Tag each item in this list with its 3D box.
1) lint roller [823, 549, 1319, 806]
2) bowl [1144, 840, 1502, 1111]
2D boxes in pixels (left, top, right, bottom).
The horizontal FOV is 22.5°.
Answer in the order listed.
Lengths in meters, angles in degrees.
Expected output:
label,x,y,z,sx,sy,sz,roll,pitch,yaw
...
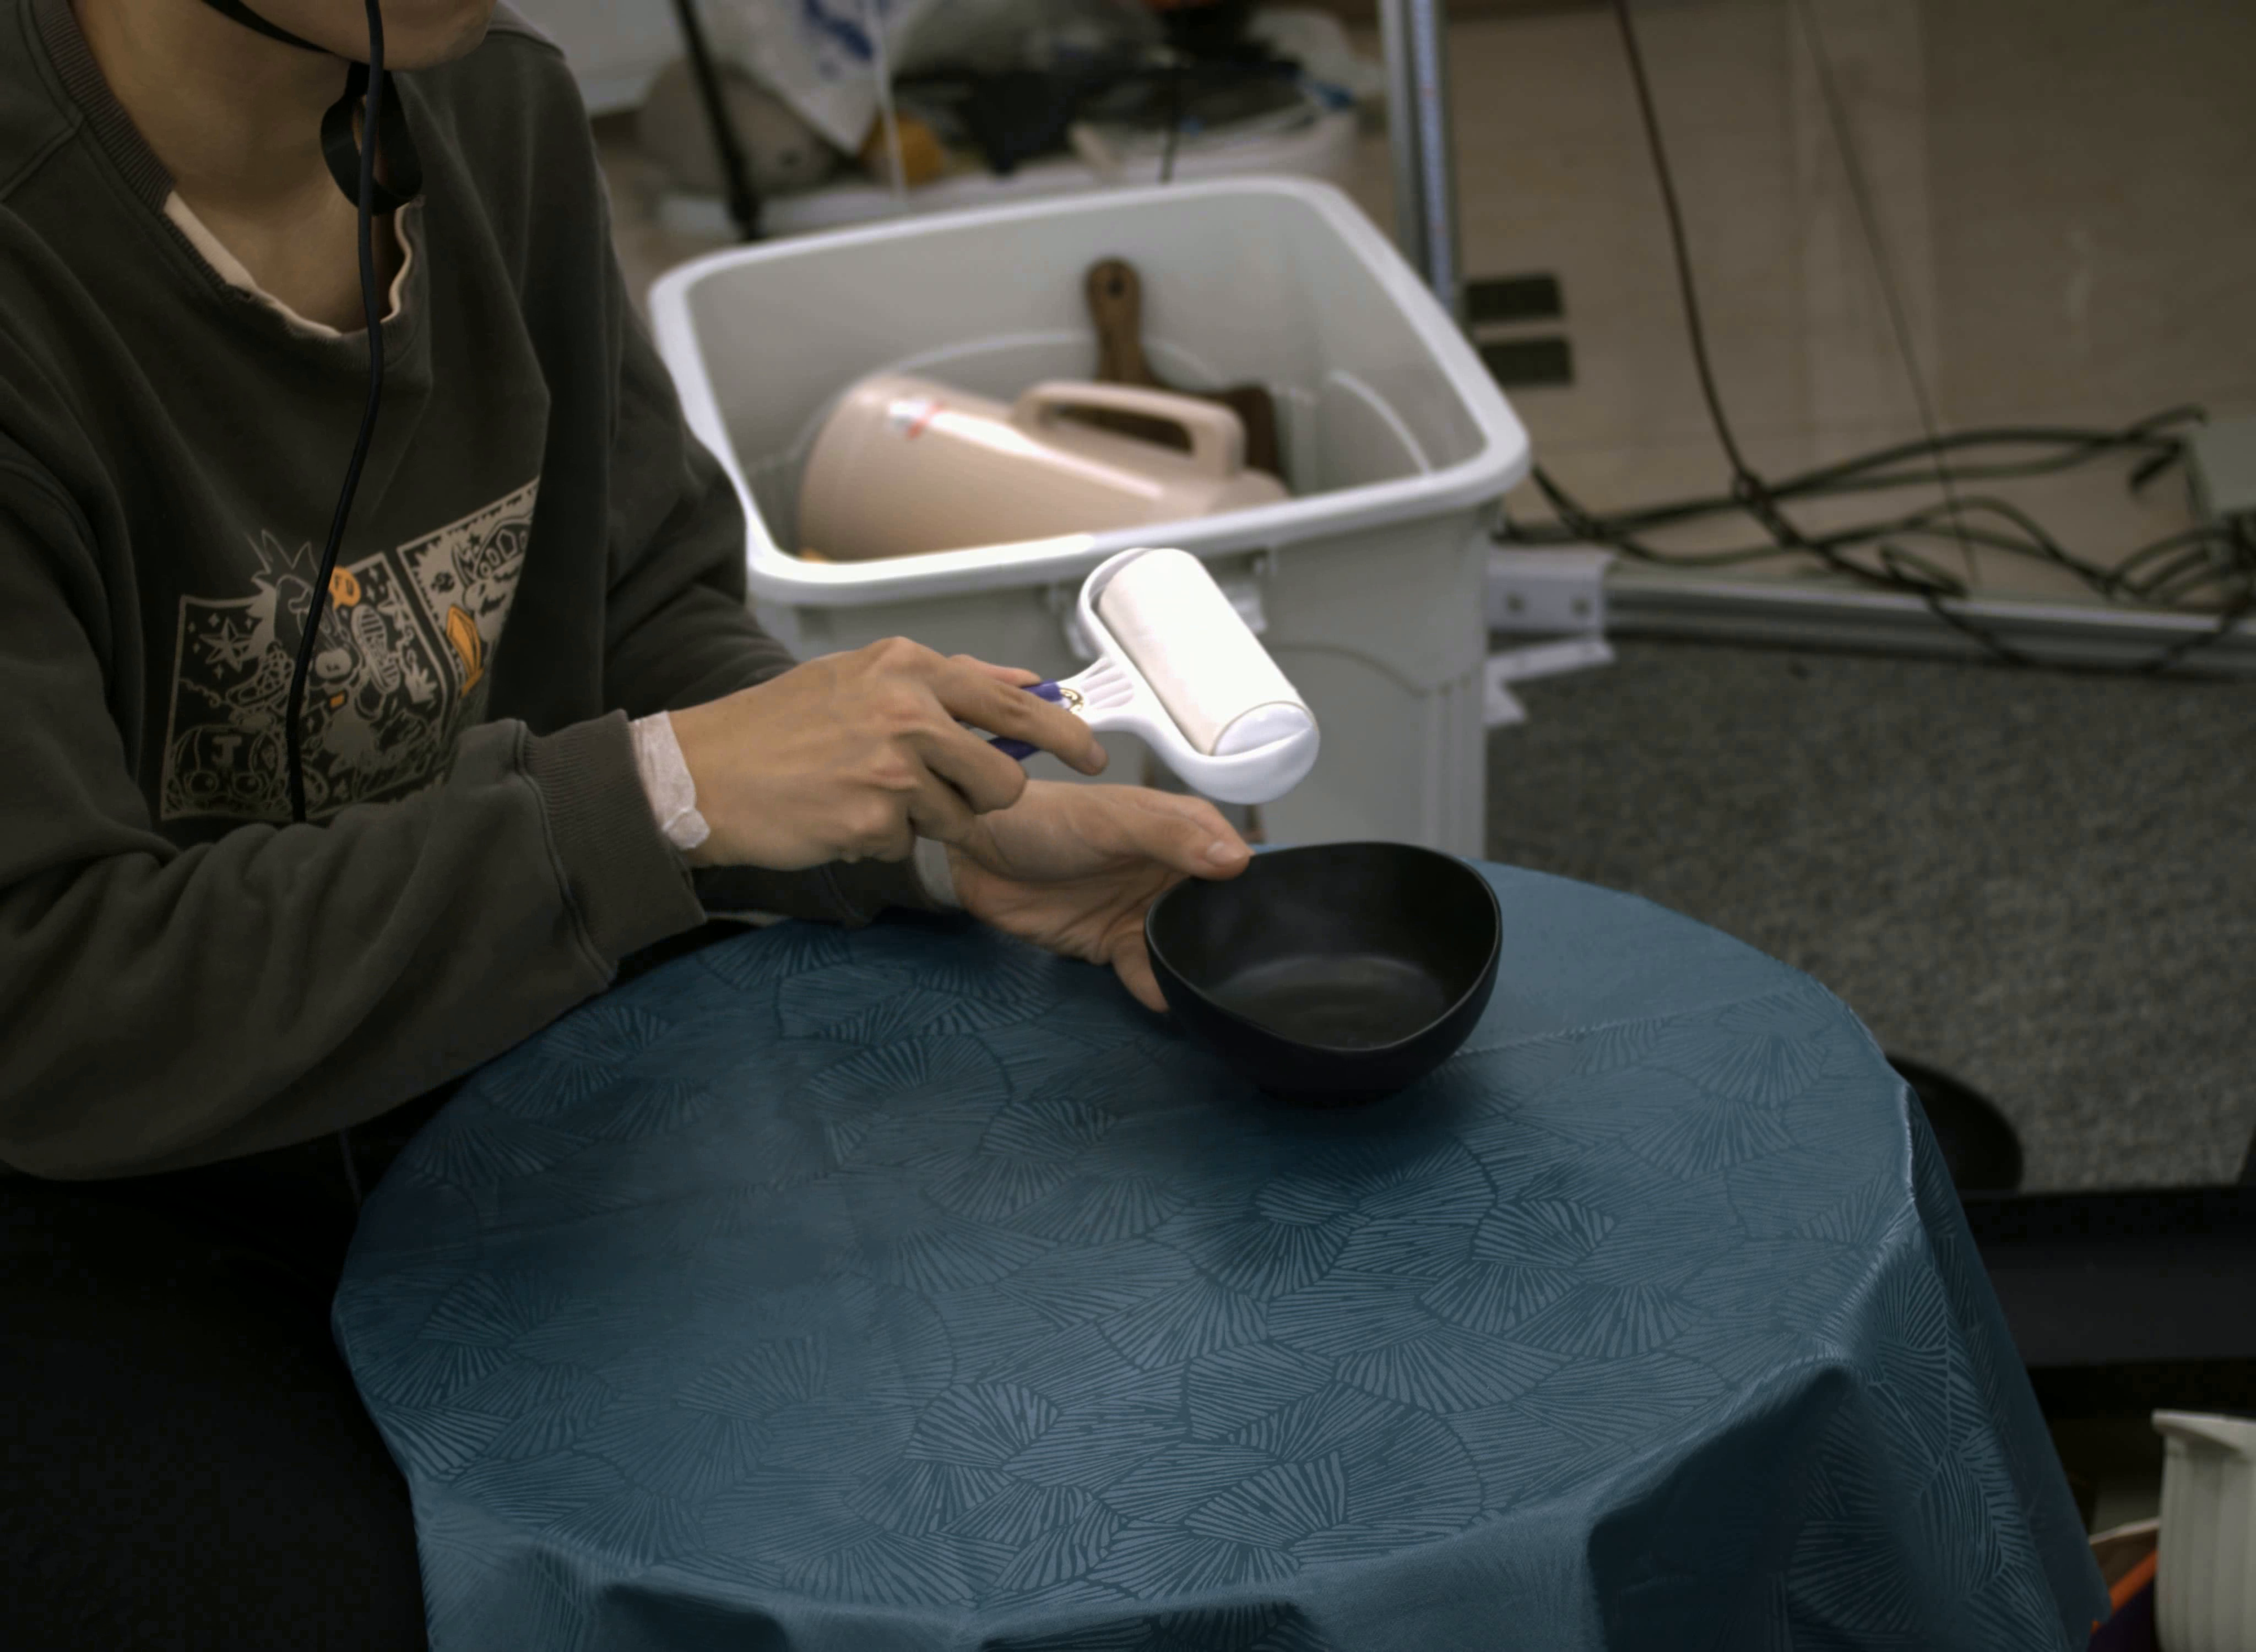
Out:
label,x,y,z,sx,sy,sz,roll,pitch,yaw
lint roller,-0.029,-0.049,2.126,0.180,0.051,0.131,-8,42,-24
bowl,0.080,0.066,2.208,0.137,0.068,0.168,-13,28,-11
